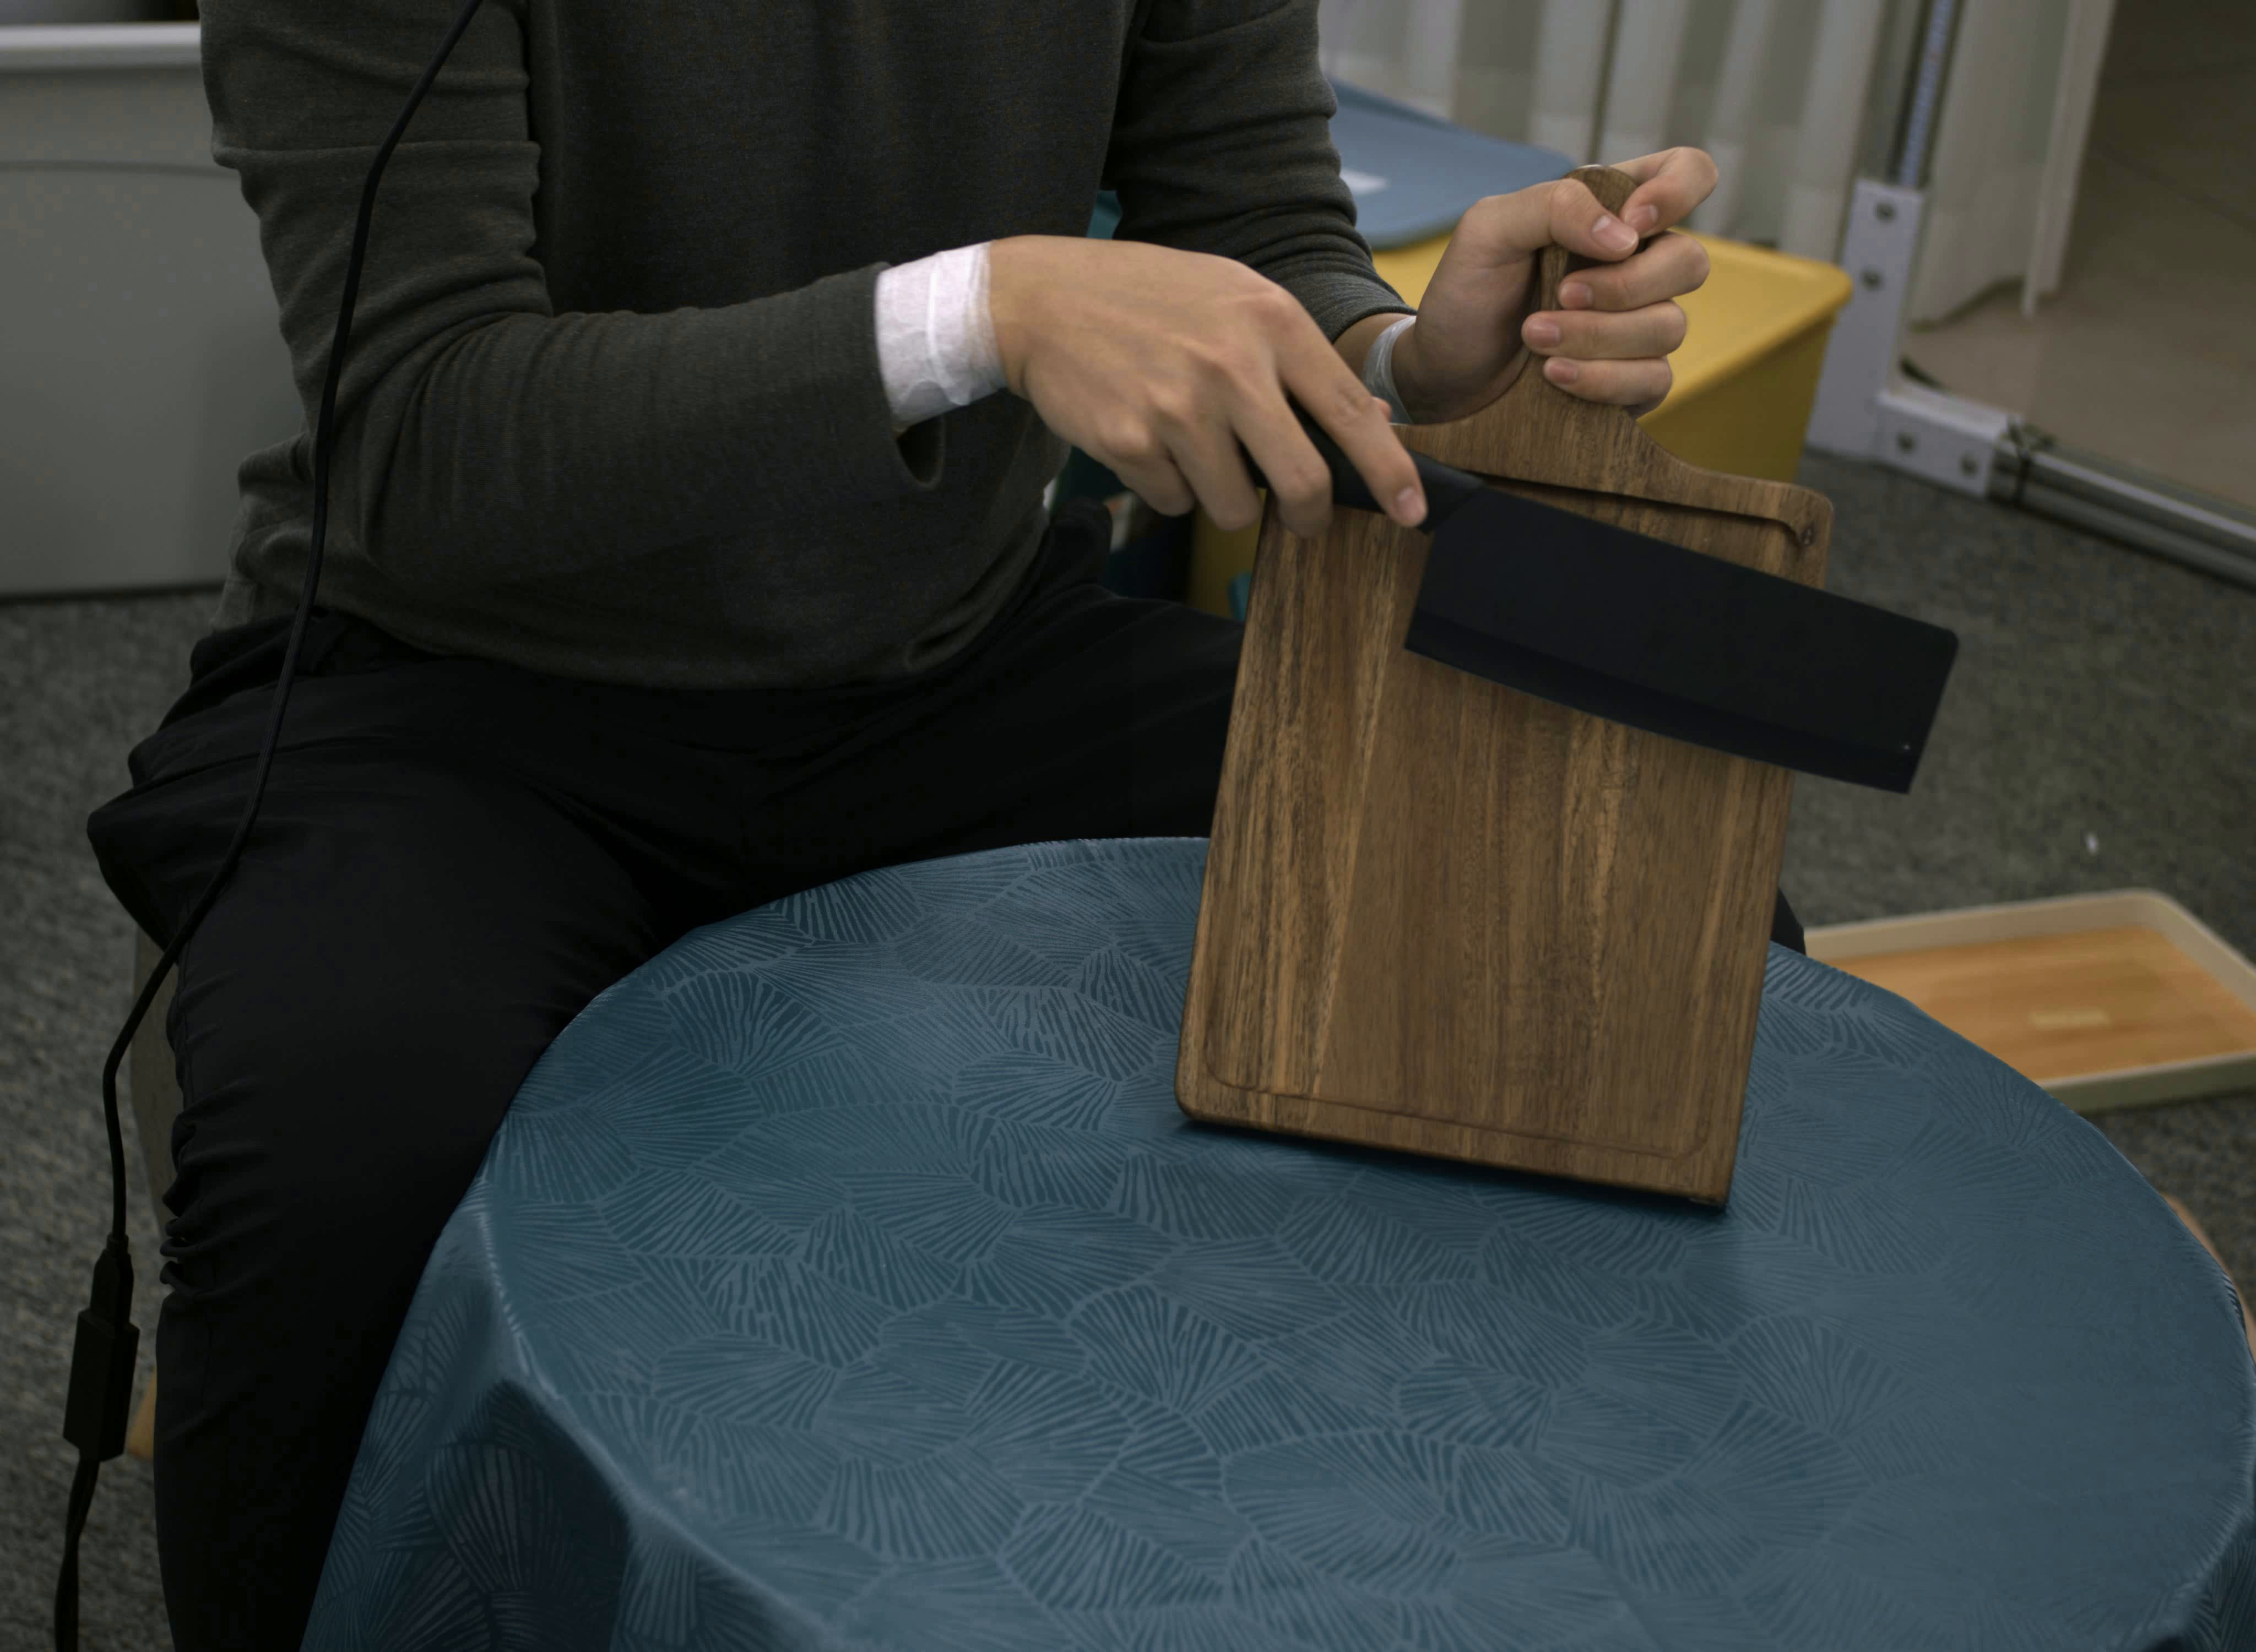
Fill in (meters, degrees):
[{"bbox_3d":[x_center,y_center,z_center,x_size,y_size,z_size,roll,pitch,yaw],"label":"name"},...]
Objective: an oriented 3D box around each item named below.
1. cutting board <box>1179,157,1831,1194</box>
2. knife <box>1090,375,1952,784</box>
[{"bbox_3d":[0.138,-0.058,1.849,0.201,0.353,0.023,8,-4,4],"label":"cutting board"},{"bbox_3d":[0.130,-0.087,1.812,0.302,0.081,0.021,22,20,7],"label":"knife"}]
